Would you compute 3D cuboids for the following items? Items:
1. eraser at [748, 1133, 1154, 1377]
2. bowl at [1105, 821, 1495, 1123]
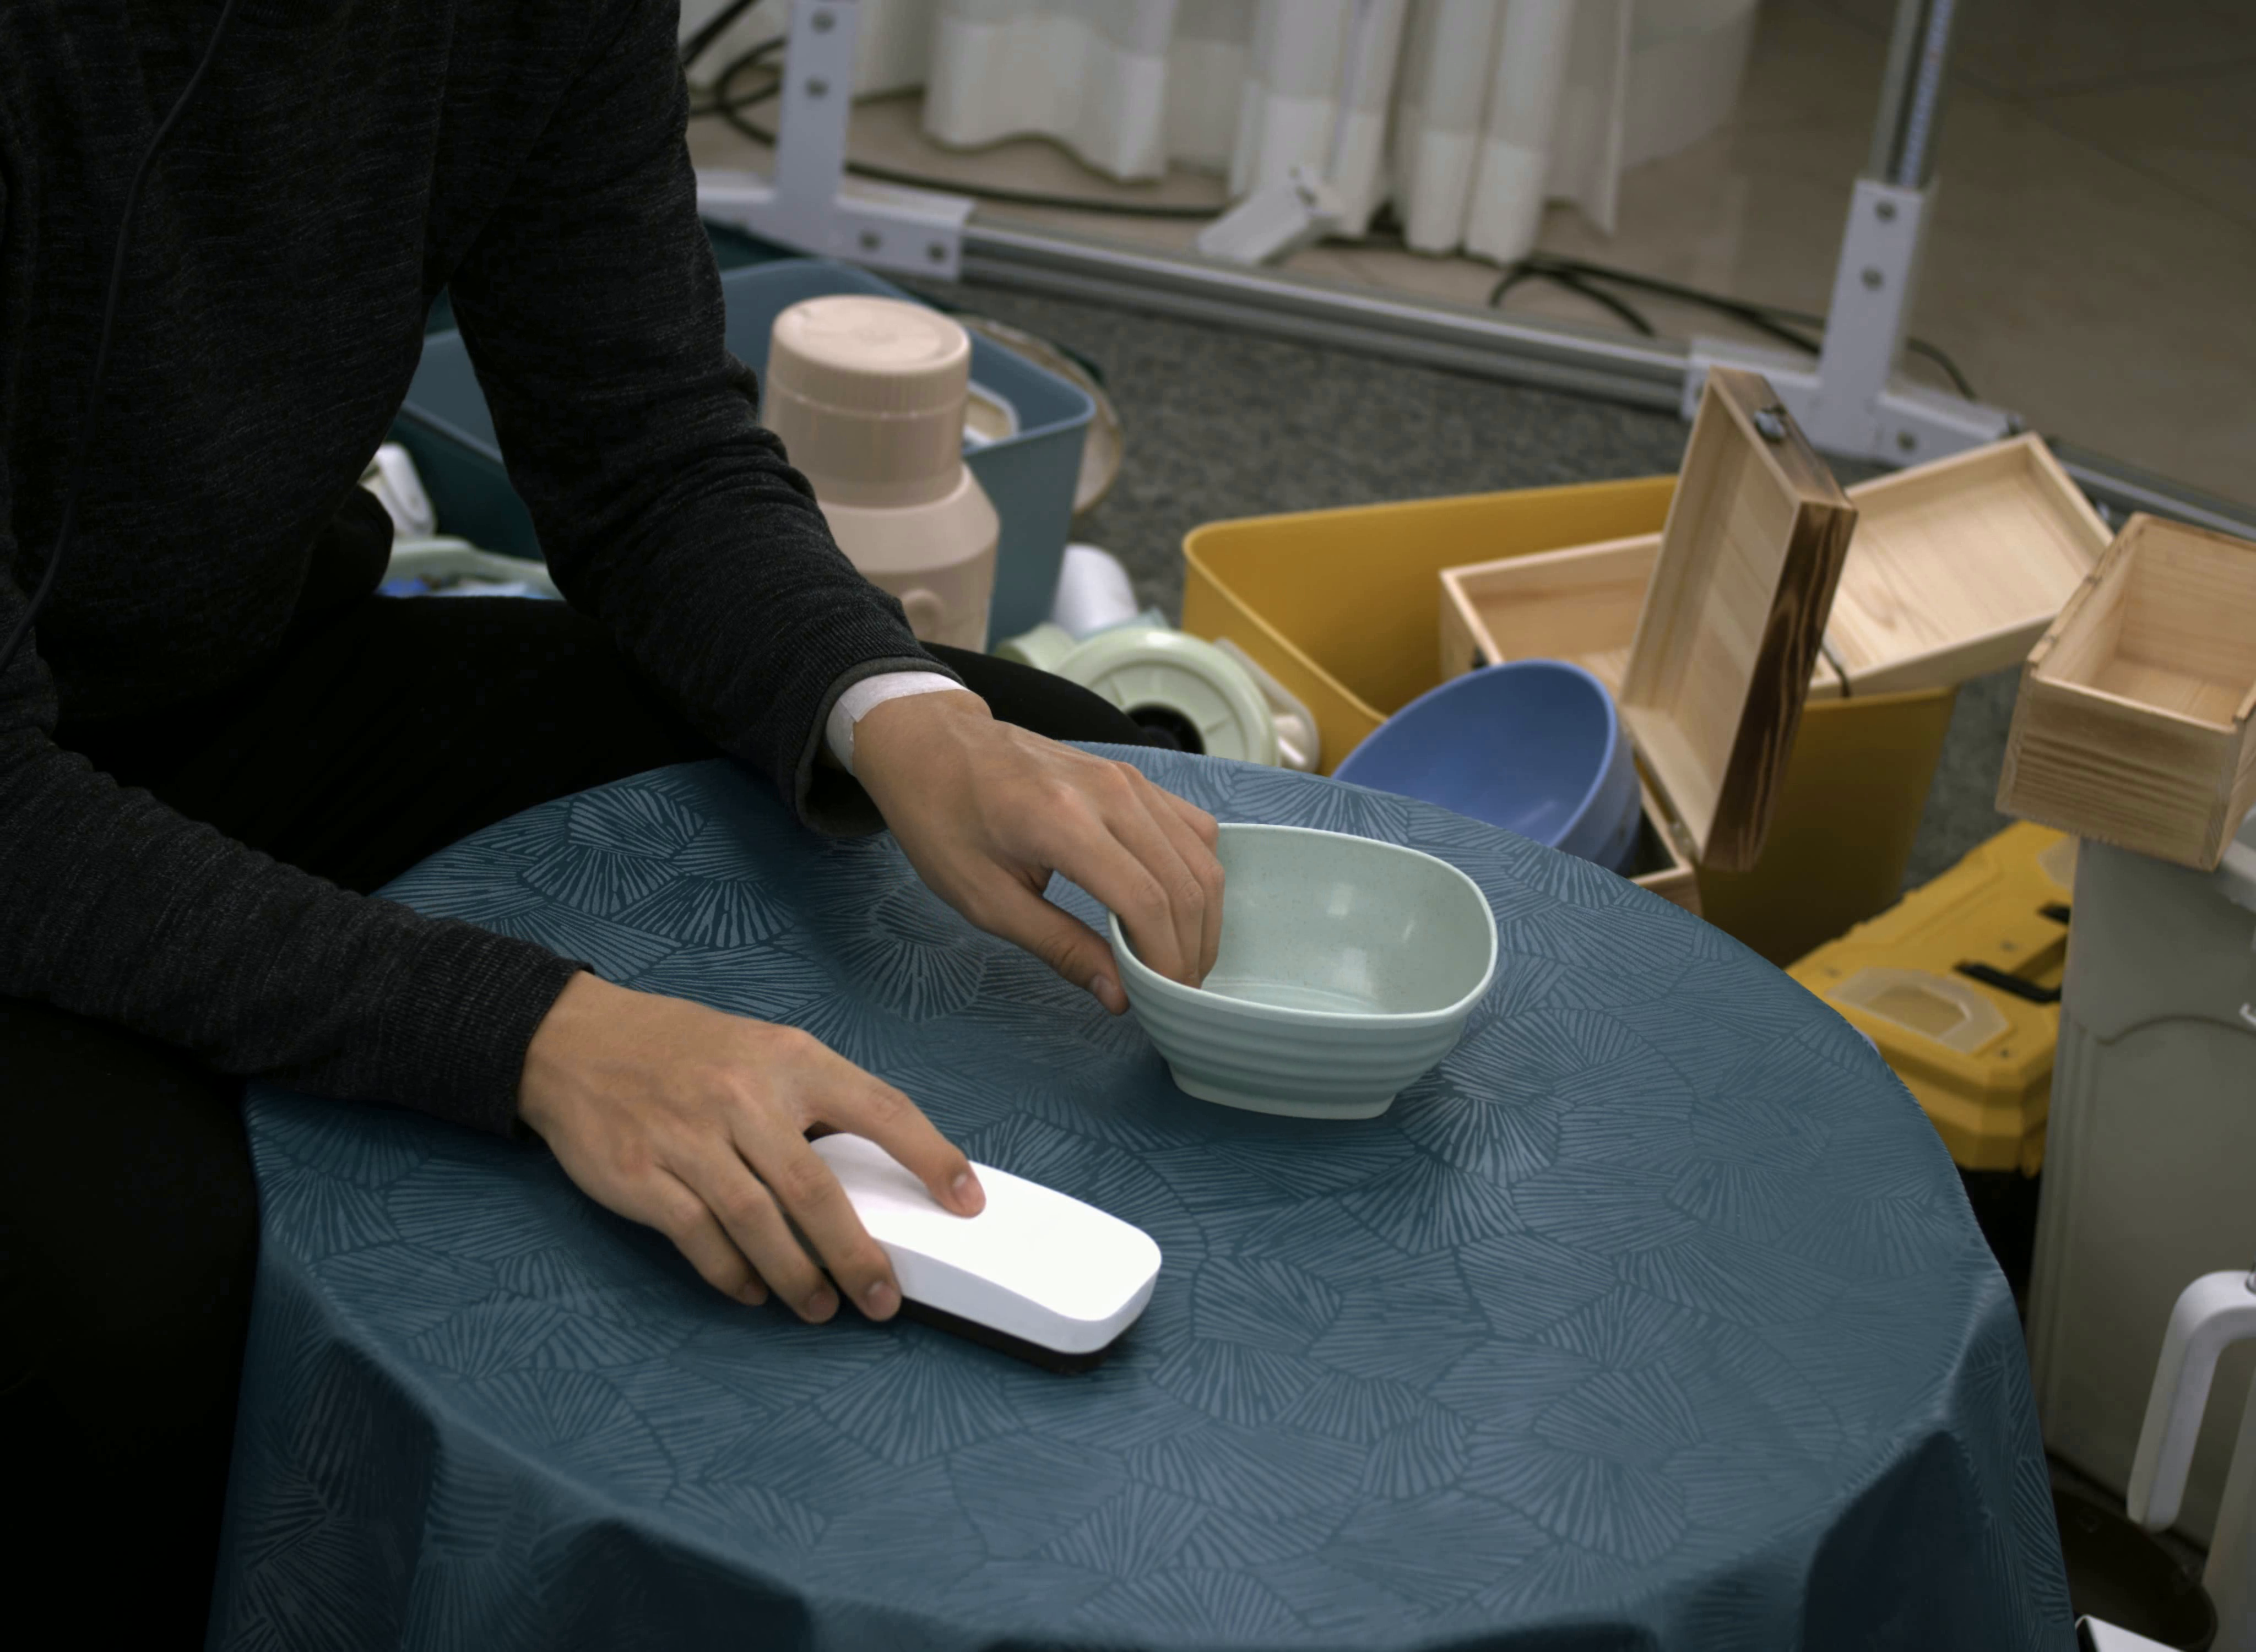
[{"bbox_3d":[-0.058,0.136,1.730,0.132,0.034,0.063,20,28,20],"label":"eraser"},{"bbox_3d":[0.057,0.058,1.884,0.151,0.058,0.152,6,27,-4],"label":"bowl"}]
